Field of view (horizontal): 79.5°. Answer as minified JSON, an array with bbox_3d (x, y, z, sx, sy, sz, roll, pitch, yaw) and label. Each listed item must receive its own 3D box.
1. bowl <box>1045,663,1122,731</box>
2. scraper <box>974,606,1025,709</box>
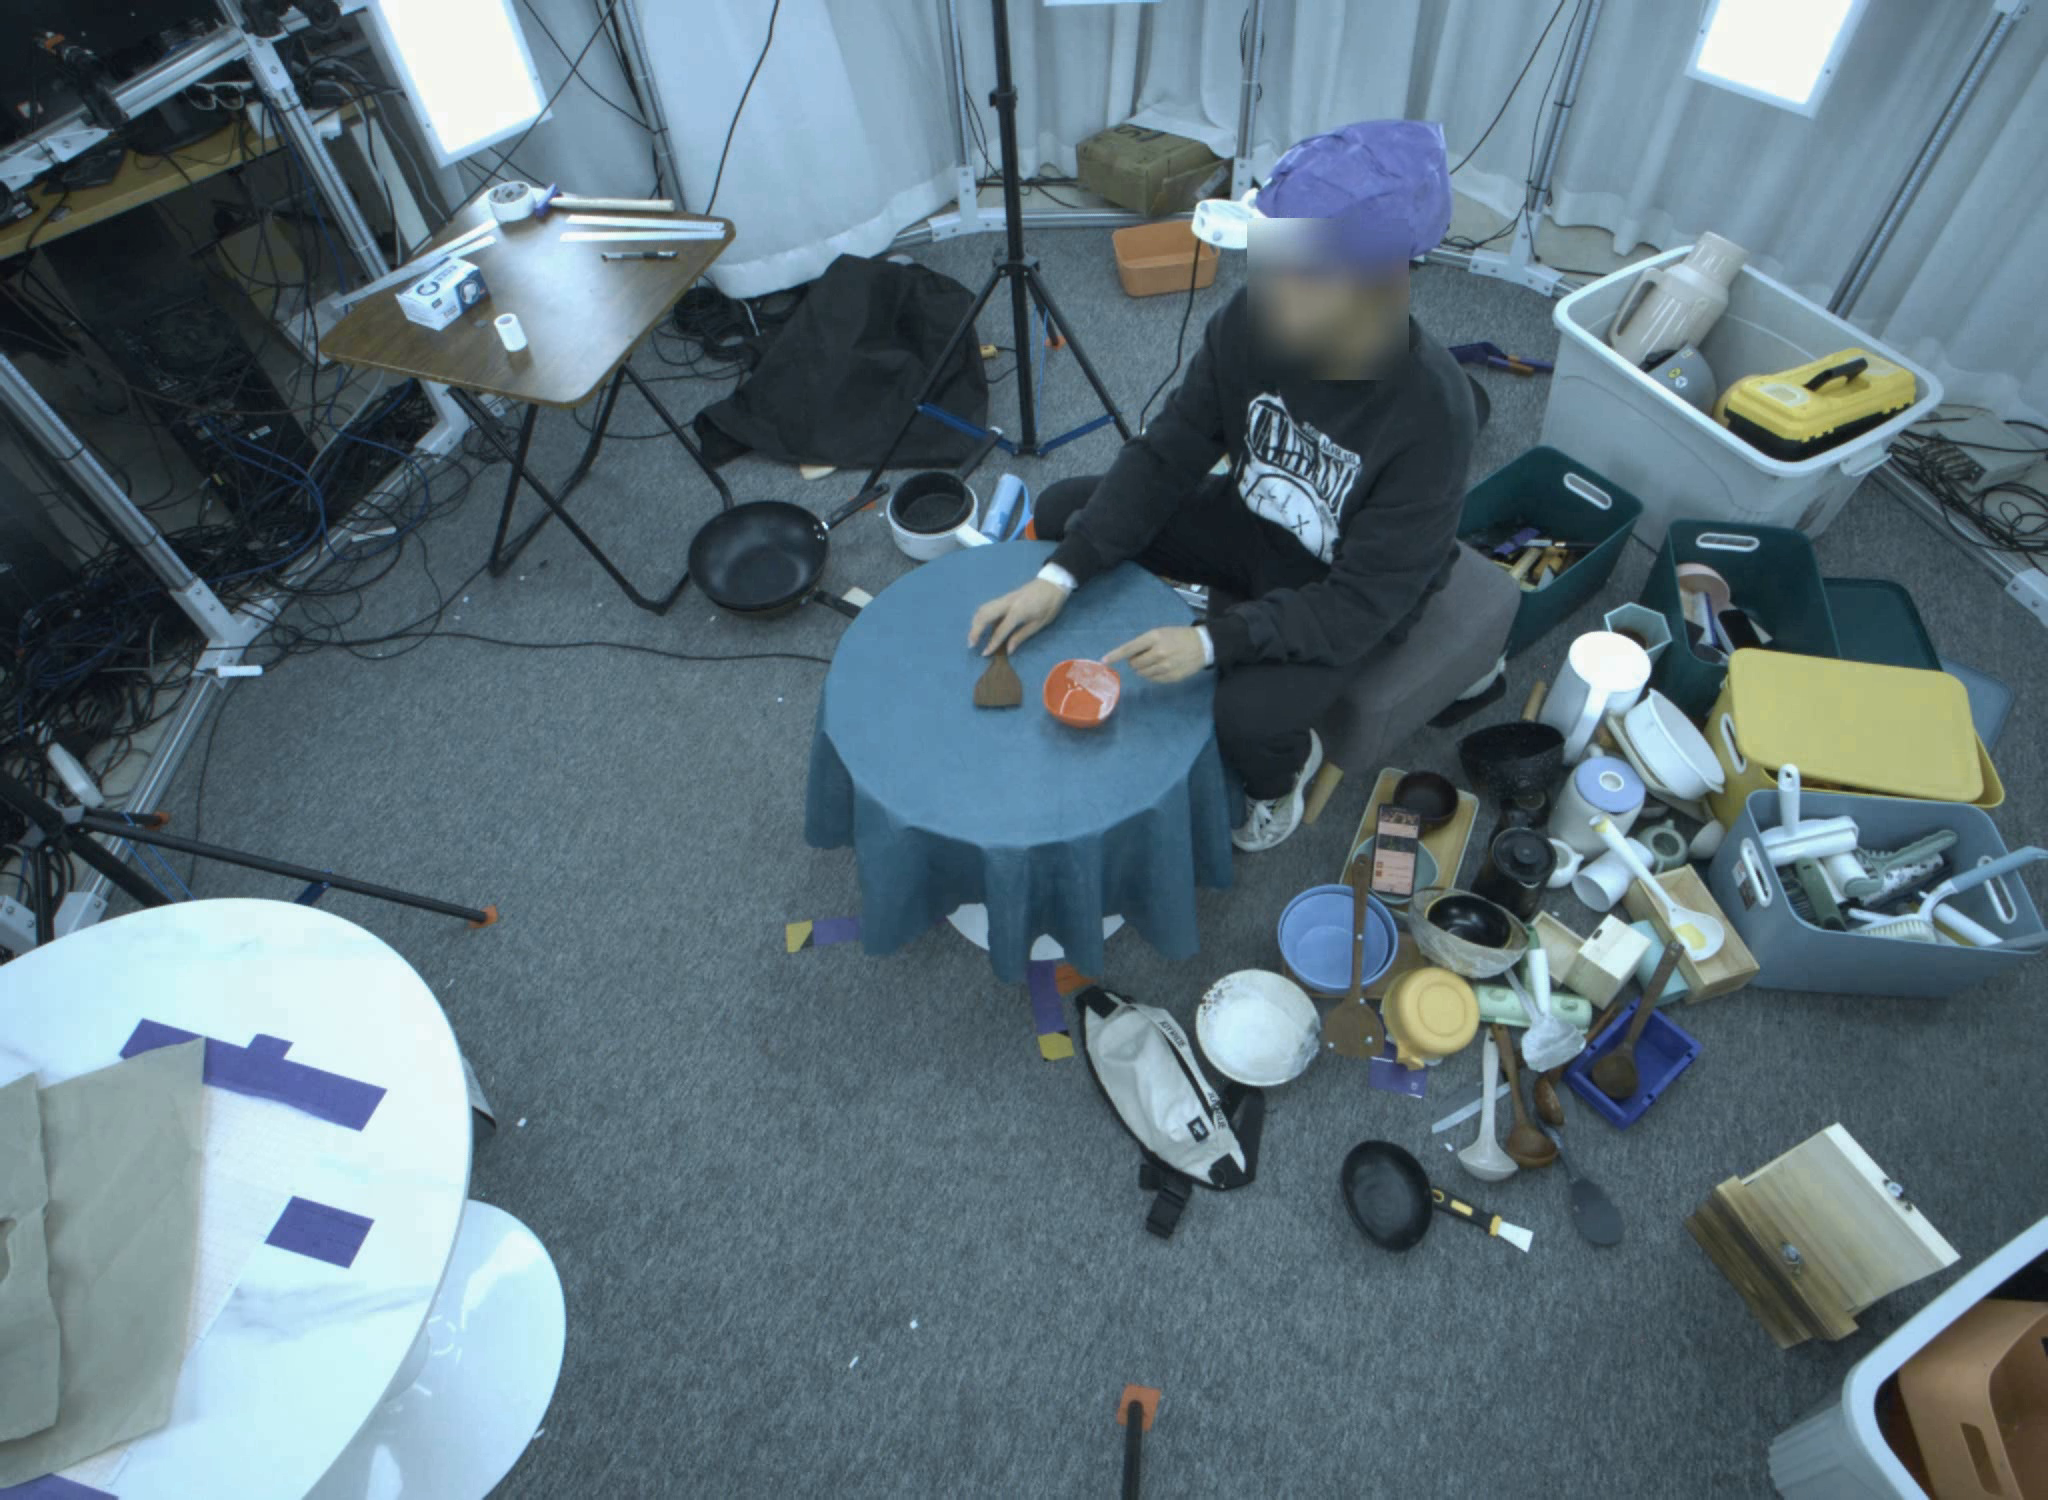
[{"bbox_3d":[0.089,-0.071,1.814,0.118,0.052,0.118,-2,56,4],"label":"bowl"},{"bbox_3d":[-0.035,-0.144,1.895,0.076,0.011,0.209,1,54,1],"label":"scraper"}]
